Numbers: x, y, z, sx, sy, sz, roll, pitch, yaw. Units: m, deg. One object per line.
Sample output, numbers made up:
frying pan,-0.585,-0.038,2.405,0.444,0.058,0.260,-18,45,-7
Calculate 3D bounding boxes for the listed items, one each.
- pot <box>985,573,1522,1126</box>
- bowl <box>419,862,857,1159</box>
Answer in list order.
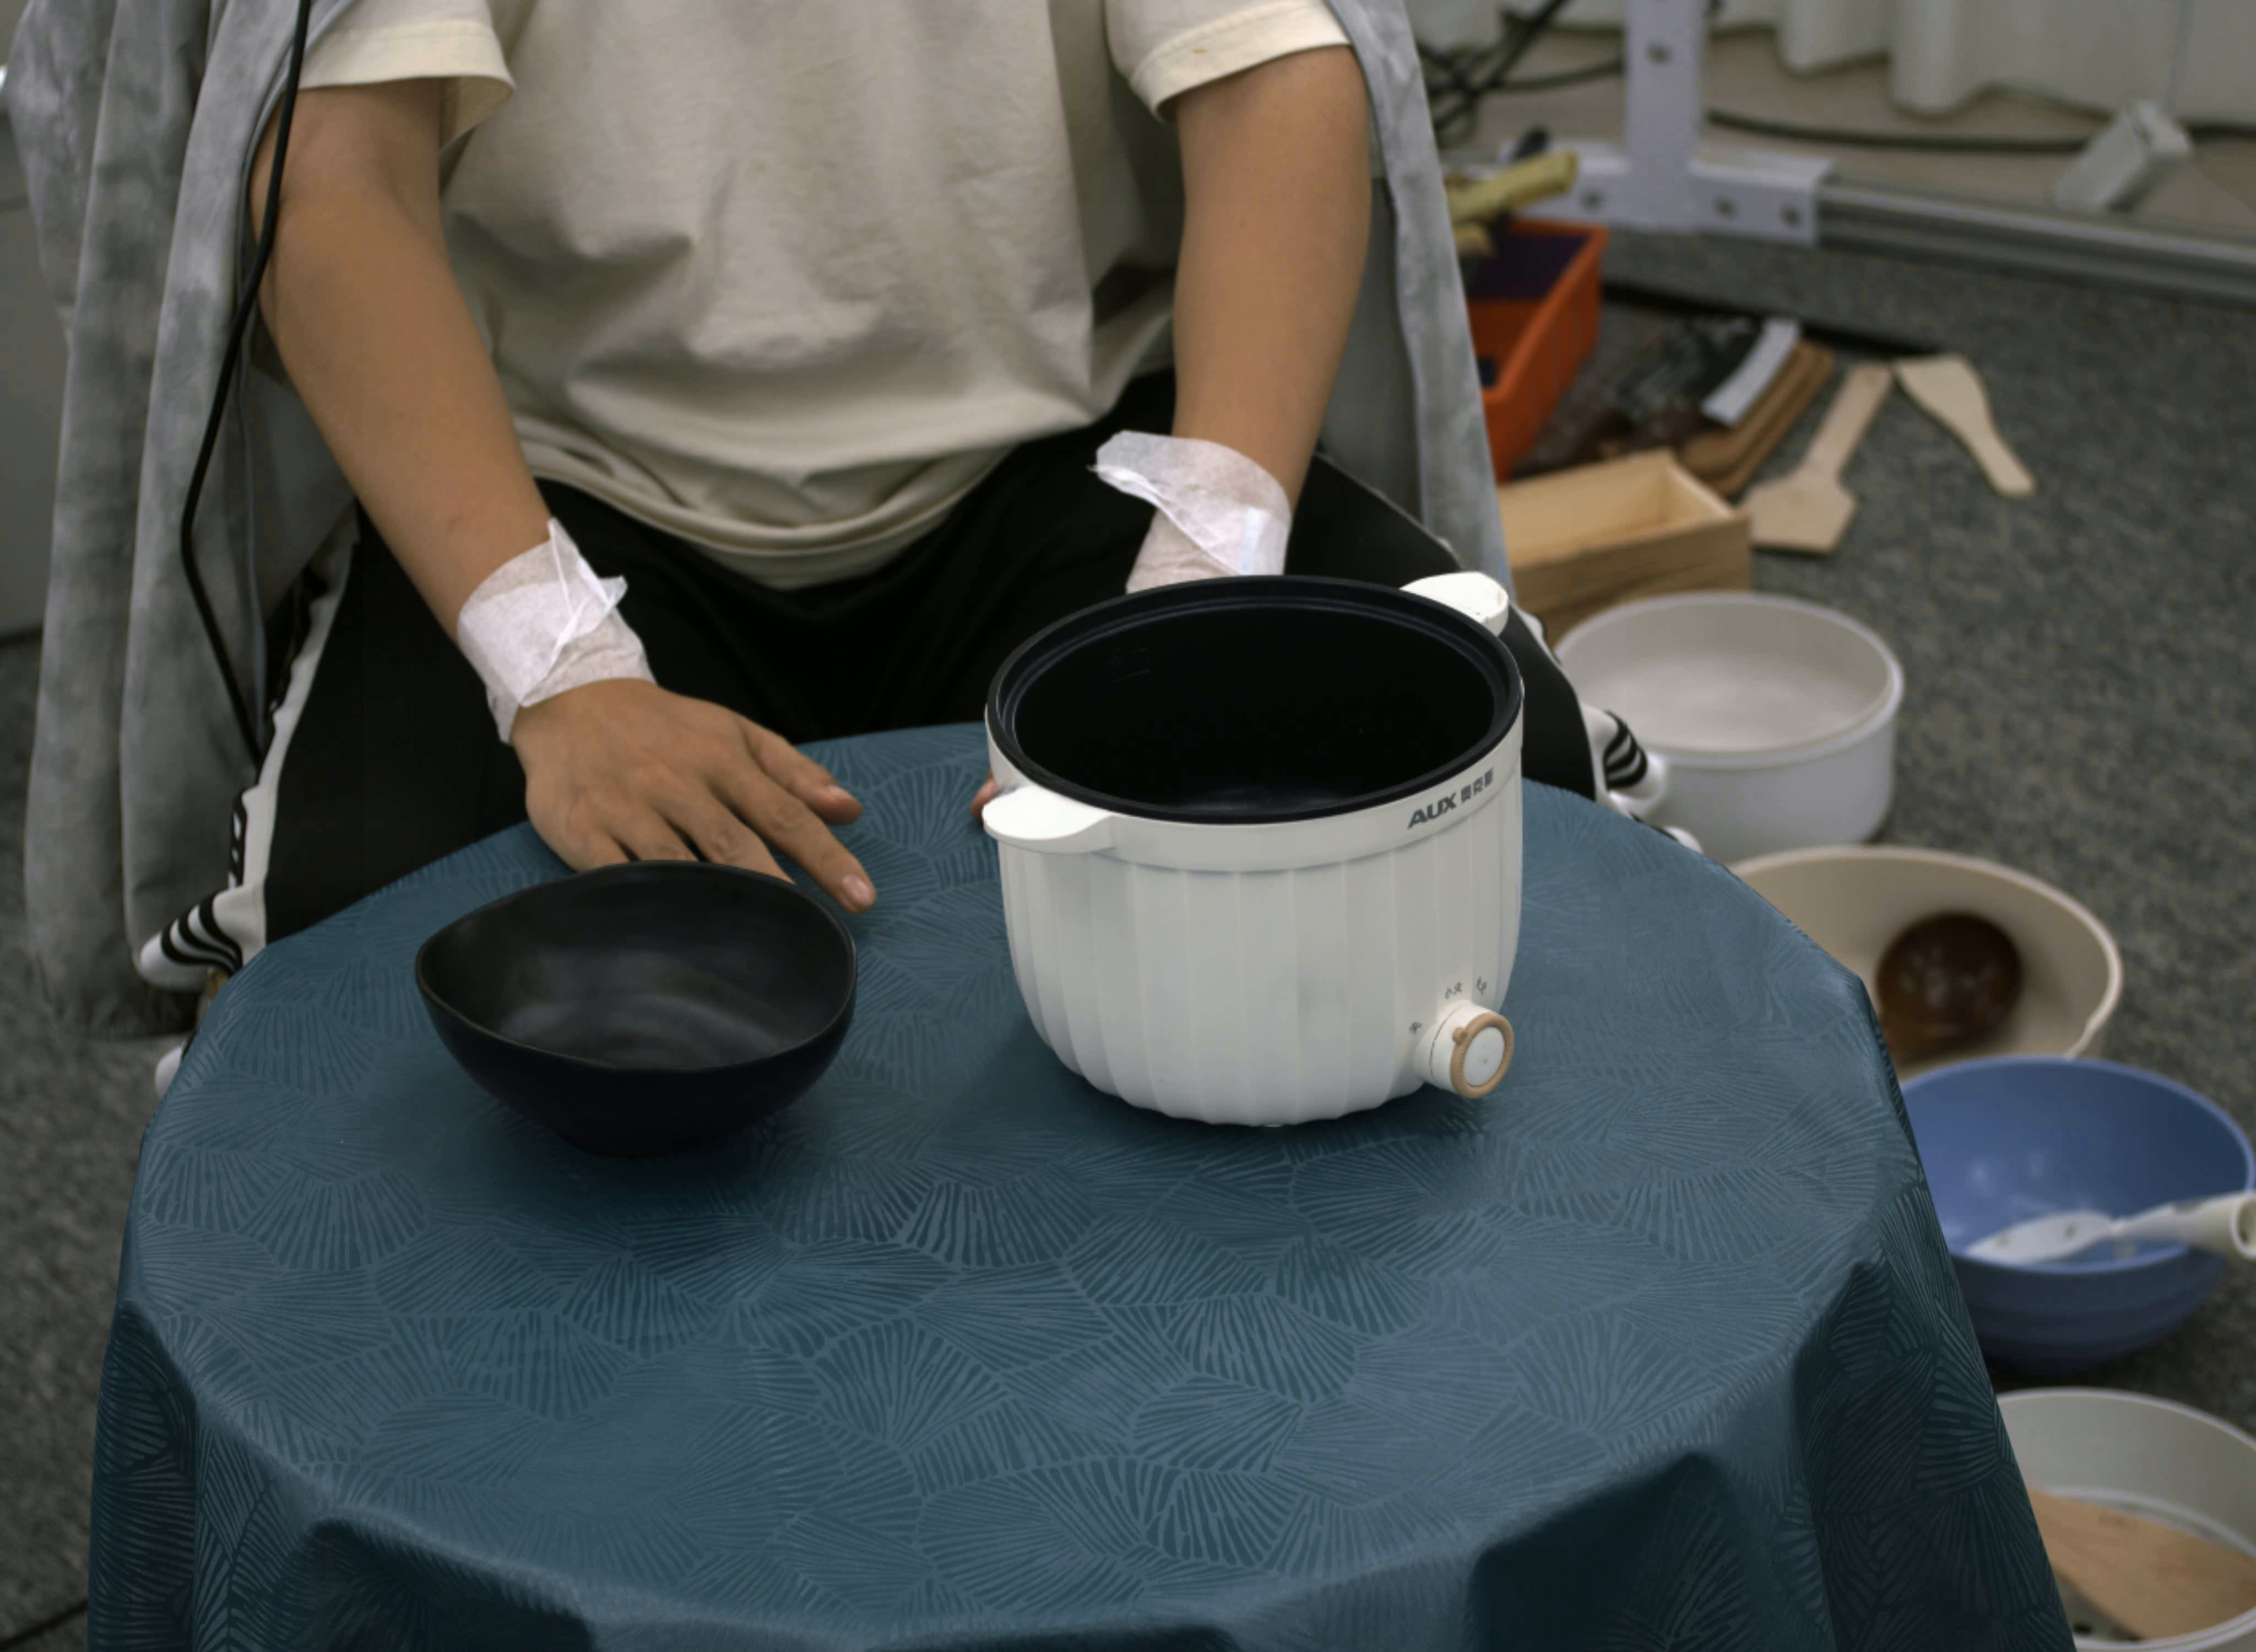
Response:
pot,0.050,0.013,1.916,0.190,0.141,0.243,17,34,41
bowl,-0.166,0.071,1.906,0.170,0.066,0.139,20,34,40
